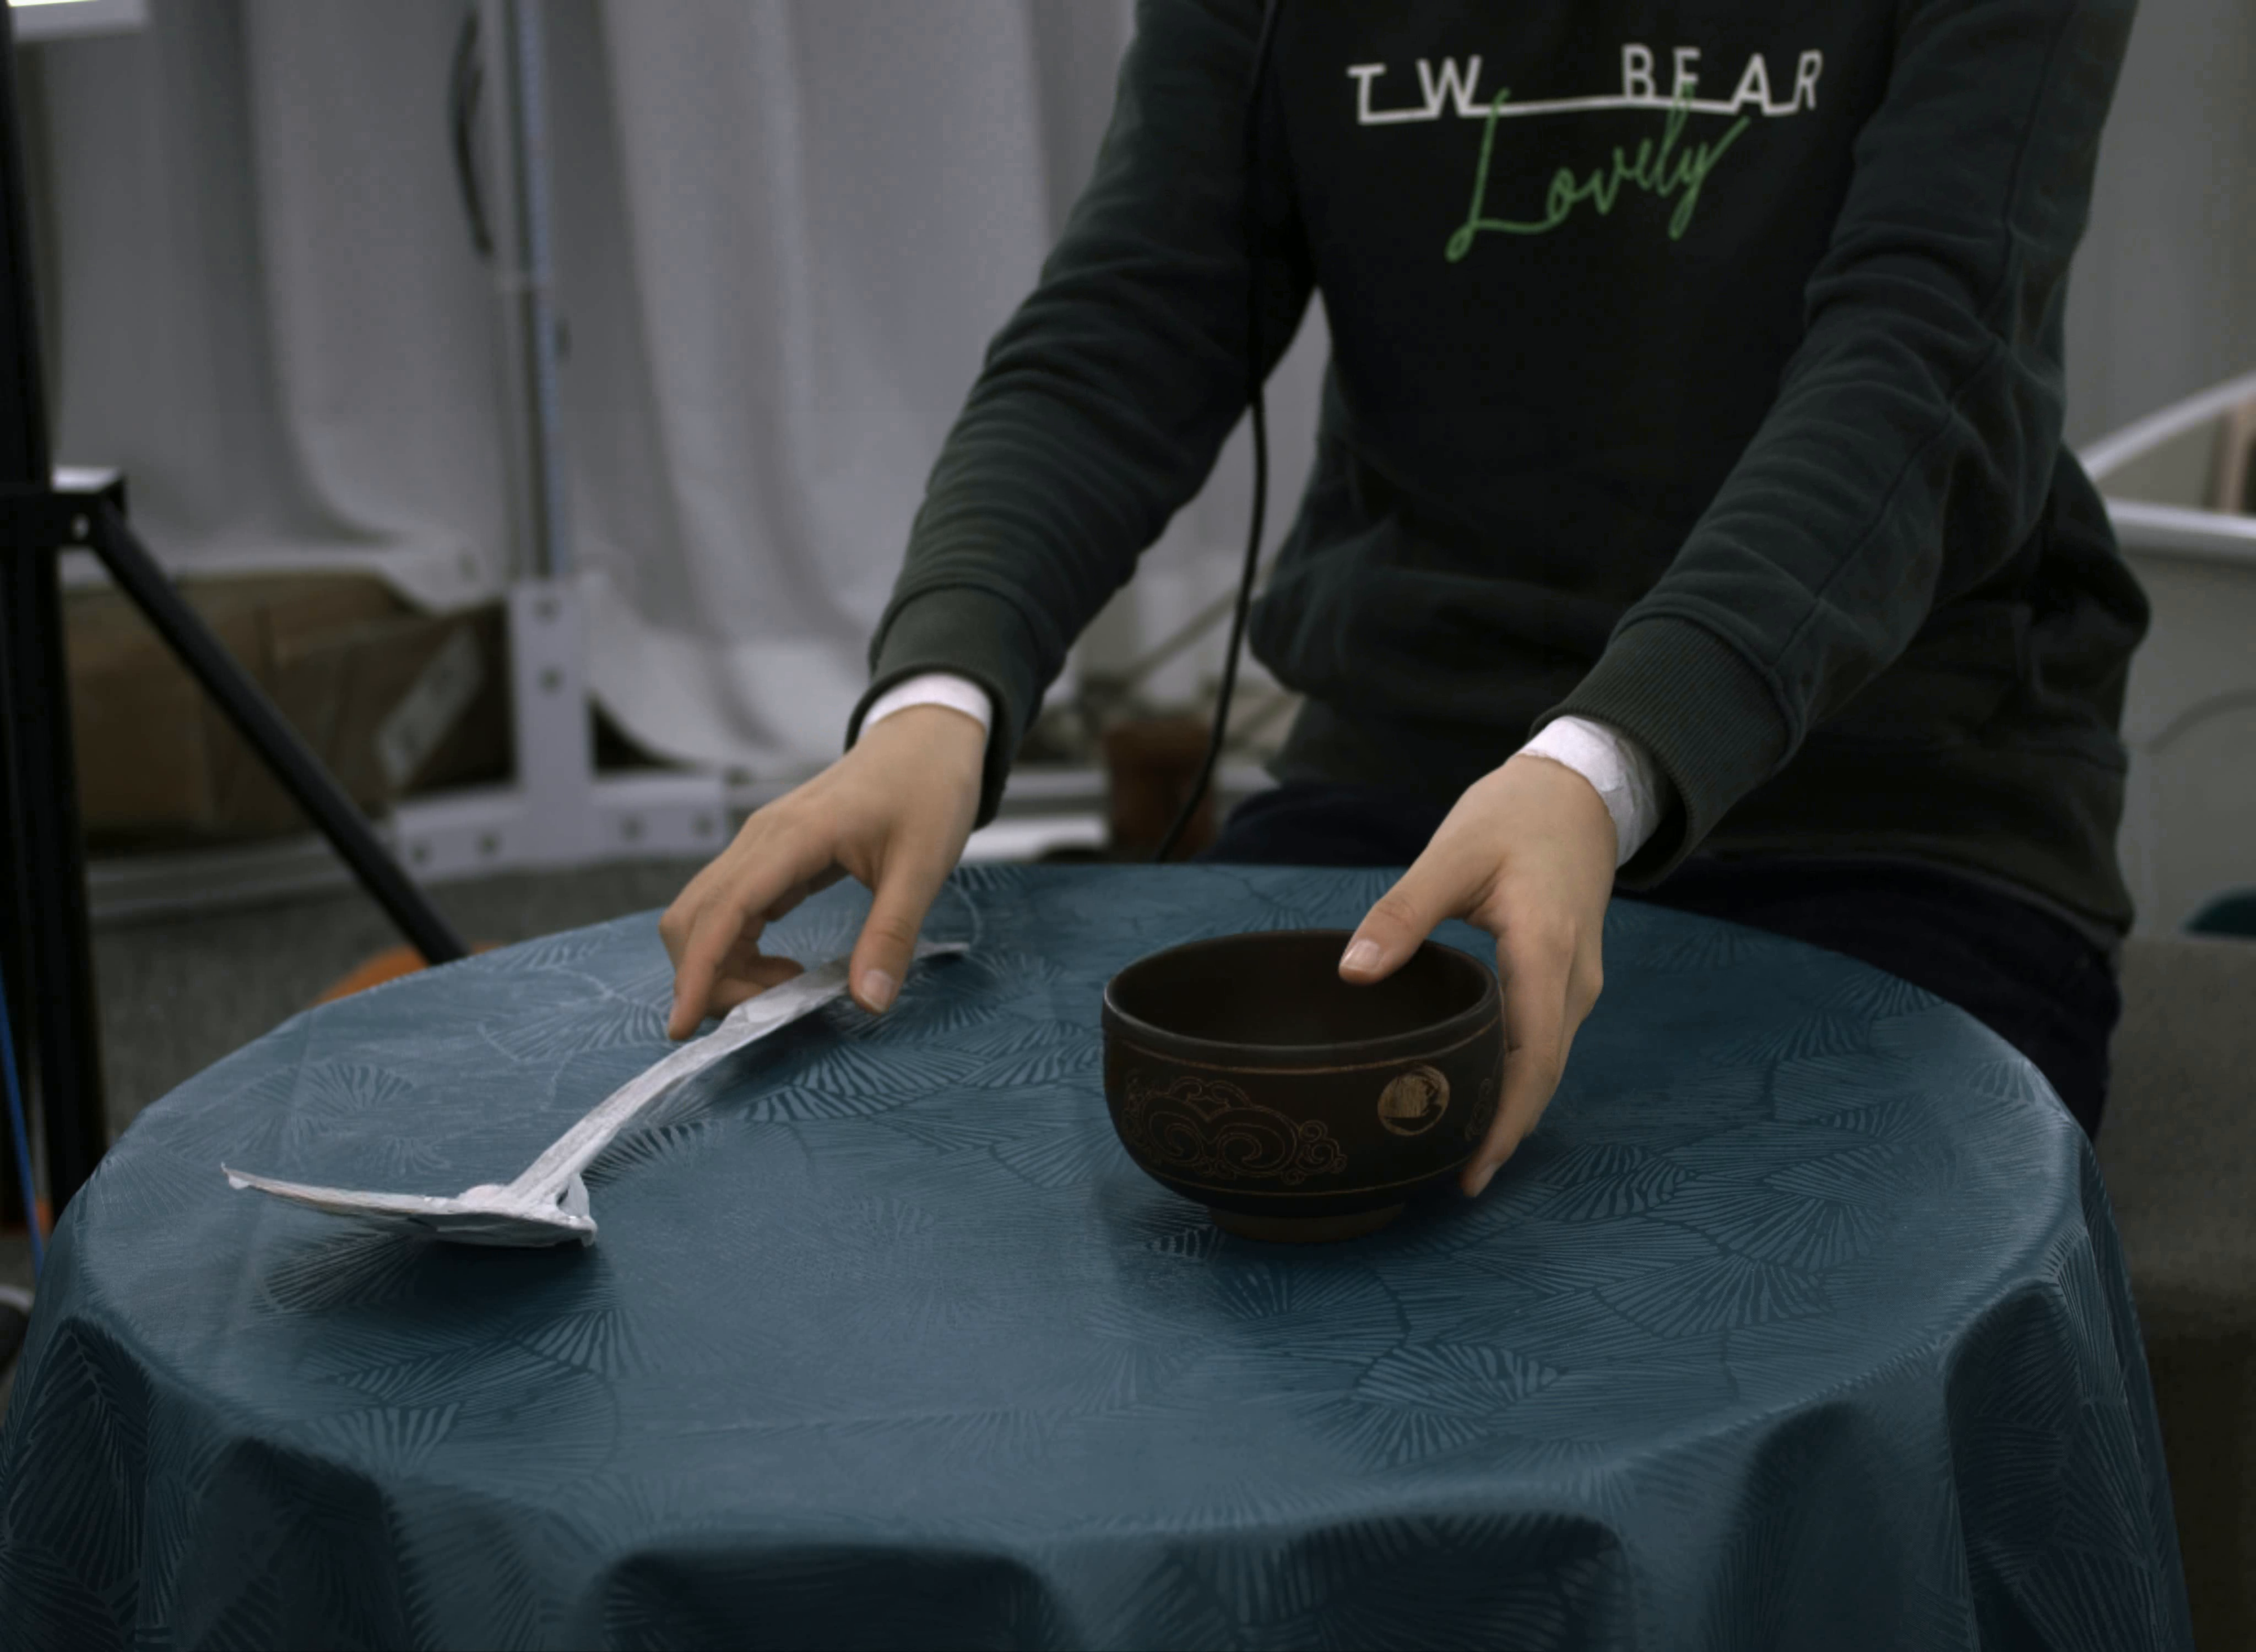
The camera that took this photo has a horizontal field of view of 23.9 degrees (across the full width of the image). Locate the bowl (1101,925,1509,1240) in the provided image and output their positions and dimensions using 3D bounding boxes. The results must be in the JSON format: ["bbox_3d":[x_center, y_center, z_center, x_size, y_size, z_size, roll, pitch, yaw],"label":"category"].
[{"bbox_3d":[0.051,0.078,1.526,0.117,0.070,0.118,-1,15,-1],"label":"bowl"}]

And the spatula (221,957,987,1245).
[{"bbox_3d":[-0.139,0.074,1.630,0.100,0.045,0.359,4,17,27],"label":"spatula"}]
